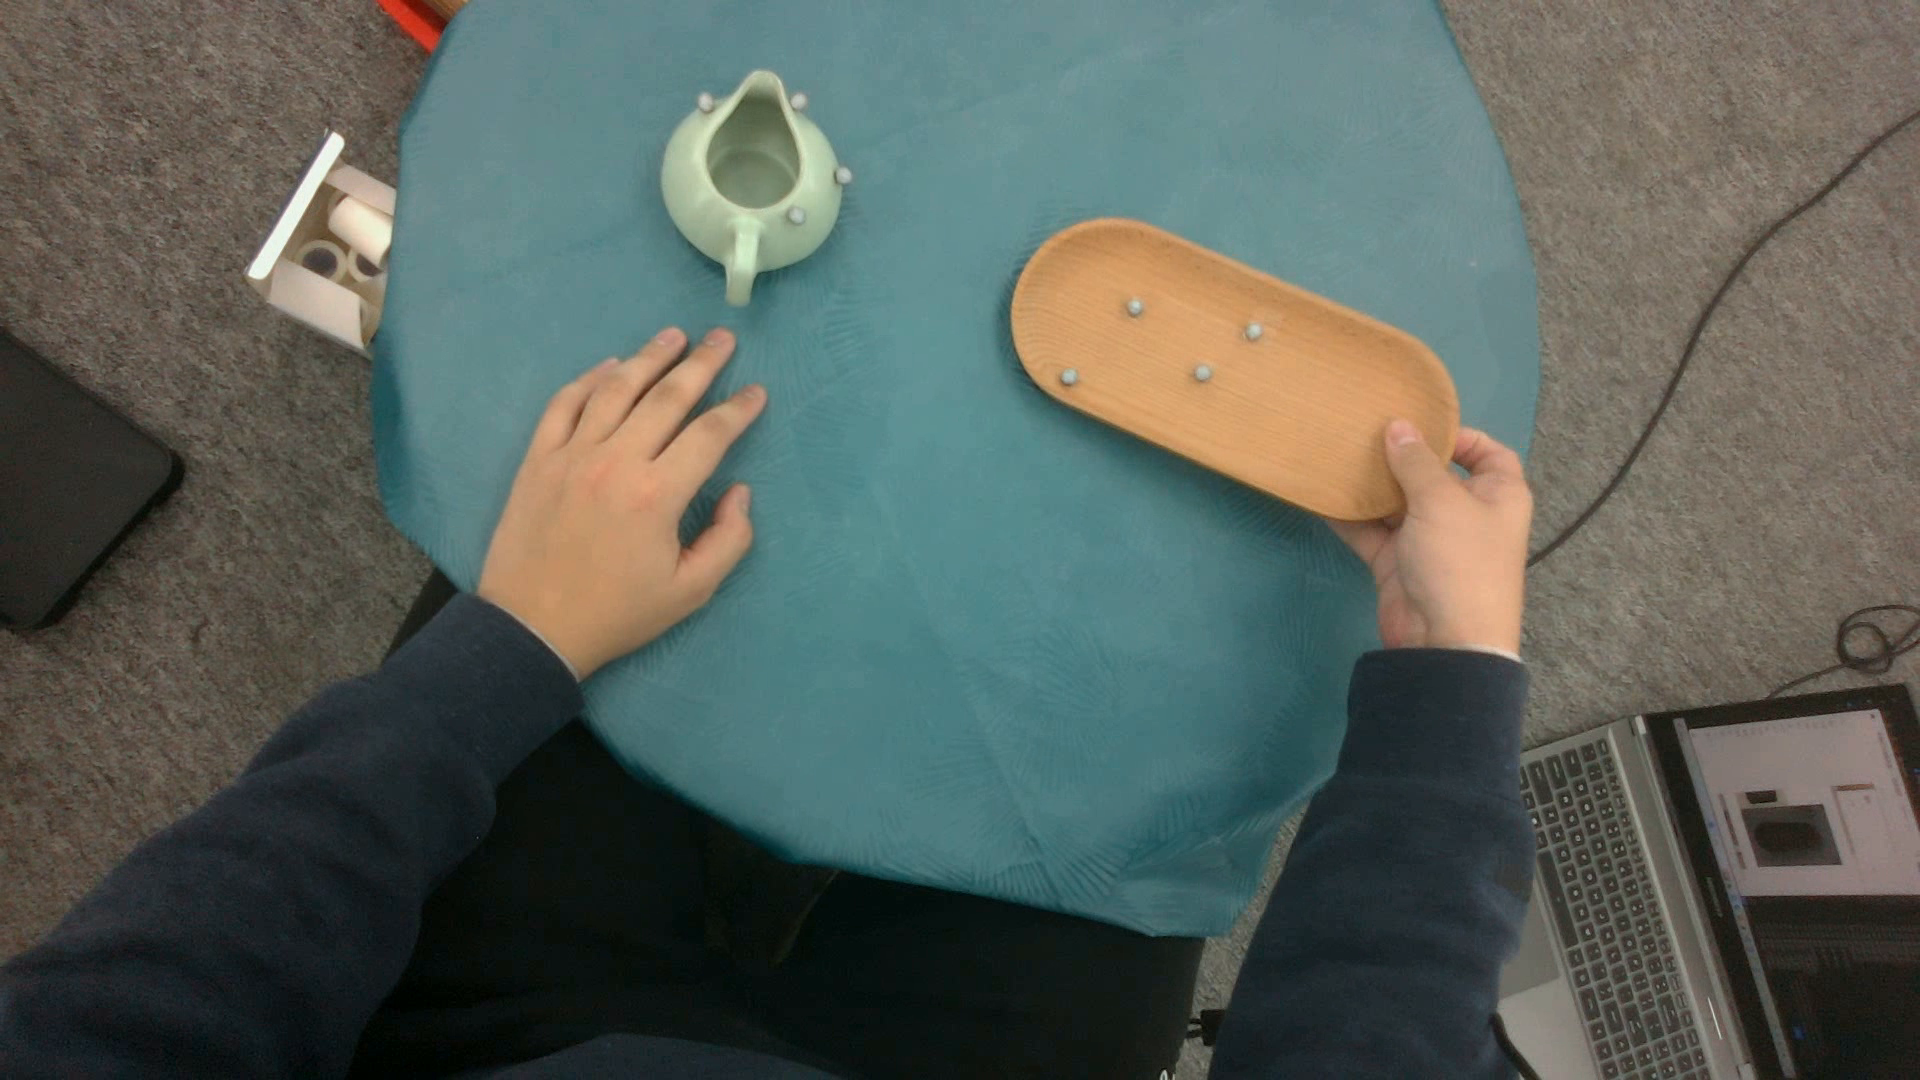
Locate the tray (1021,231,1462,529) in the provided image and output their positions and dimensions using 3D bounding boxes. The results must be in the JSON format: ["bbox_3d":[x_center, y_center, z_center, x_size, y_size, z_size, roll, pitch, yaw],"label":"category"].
[{"bbox_3d":[0.141,-0.082,0.703,0.231,0.020,0.102,24,86,5],"label":"tray"}]

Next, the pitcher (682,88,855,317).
[{"bbox_3d":[-0.095,-0.161,0.677,0.086,0.060,0.108,5,85,-8],"label":"pitcher"}]
